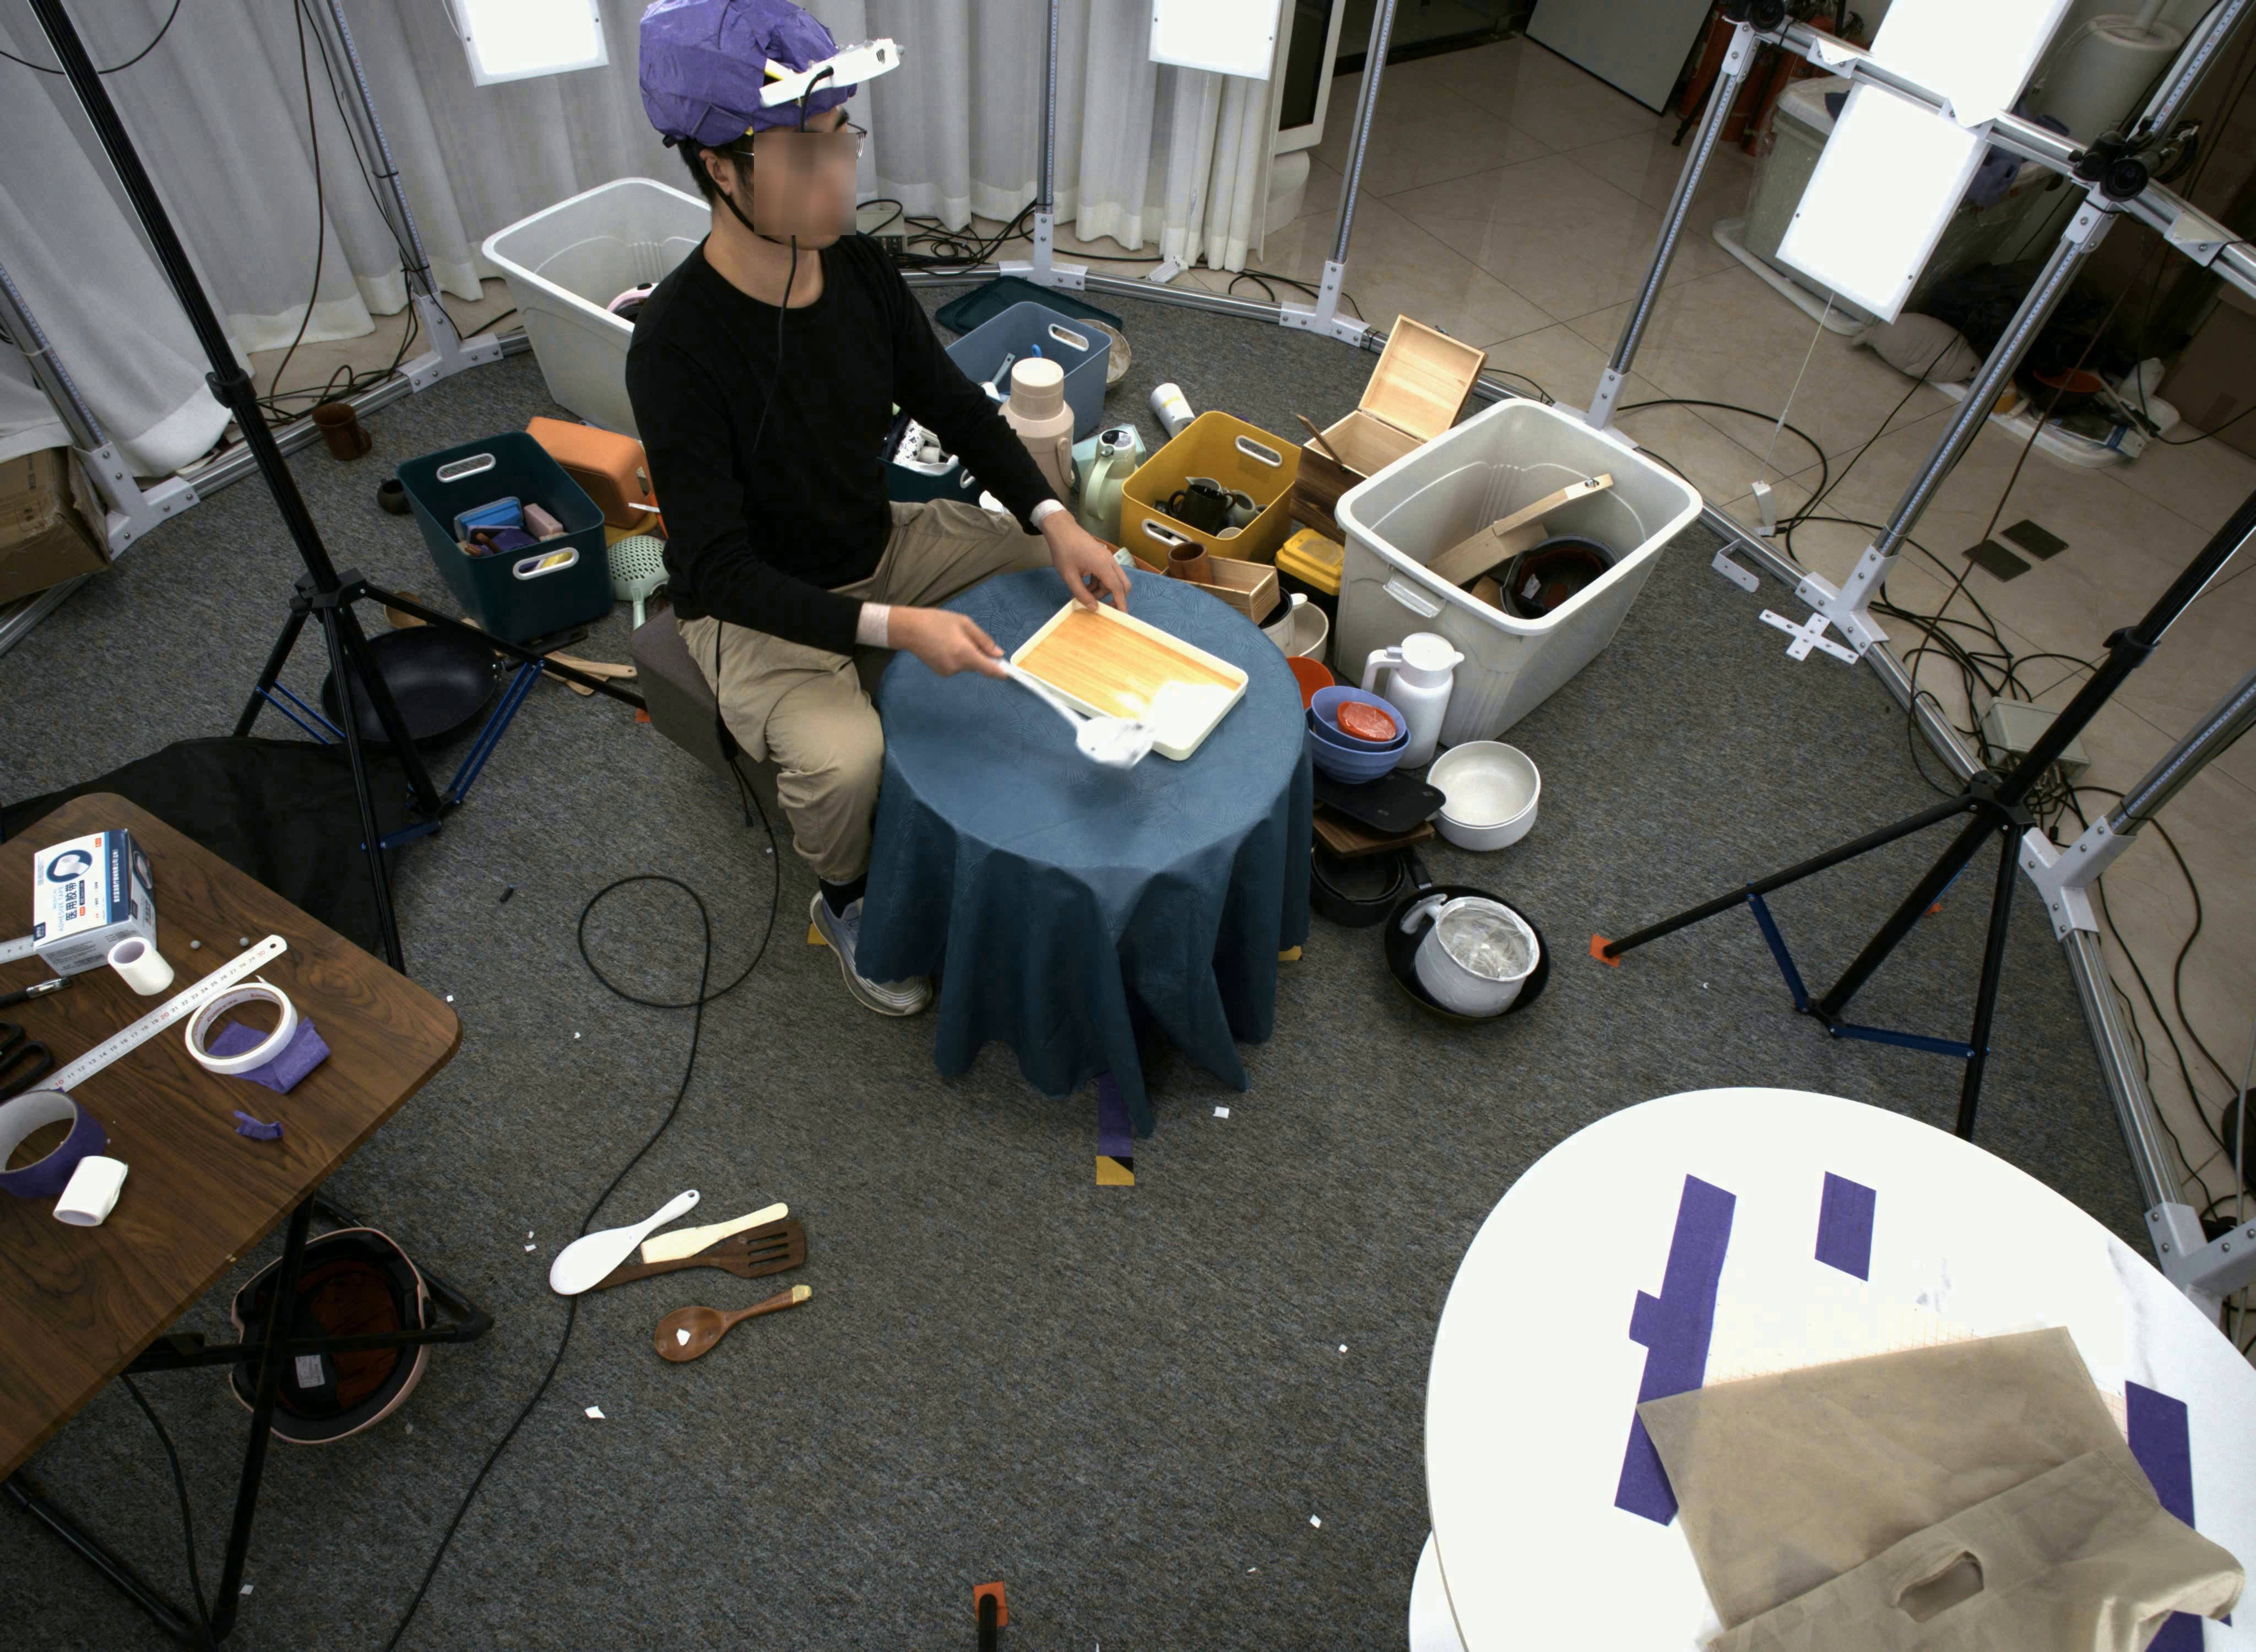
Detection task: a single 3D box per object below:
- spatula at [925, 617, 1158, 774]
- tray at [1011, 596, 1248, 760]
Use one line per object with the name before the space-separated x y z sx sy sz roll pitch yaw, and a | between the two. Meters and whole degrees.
spatula | -0.127 -0.183 1.696 0.367 0.044 0.100 36 54 9
tray | 0.002 -0.218 1.841 0.303 0.027 0.194 29 53 20
